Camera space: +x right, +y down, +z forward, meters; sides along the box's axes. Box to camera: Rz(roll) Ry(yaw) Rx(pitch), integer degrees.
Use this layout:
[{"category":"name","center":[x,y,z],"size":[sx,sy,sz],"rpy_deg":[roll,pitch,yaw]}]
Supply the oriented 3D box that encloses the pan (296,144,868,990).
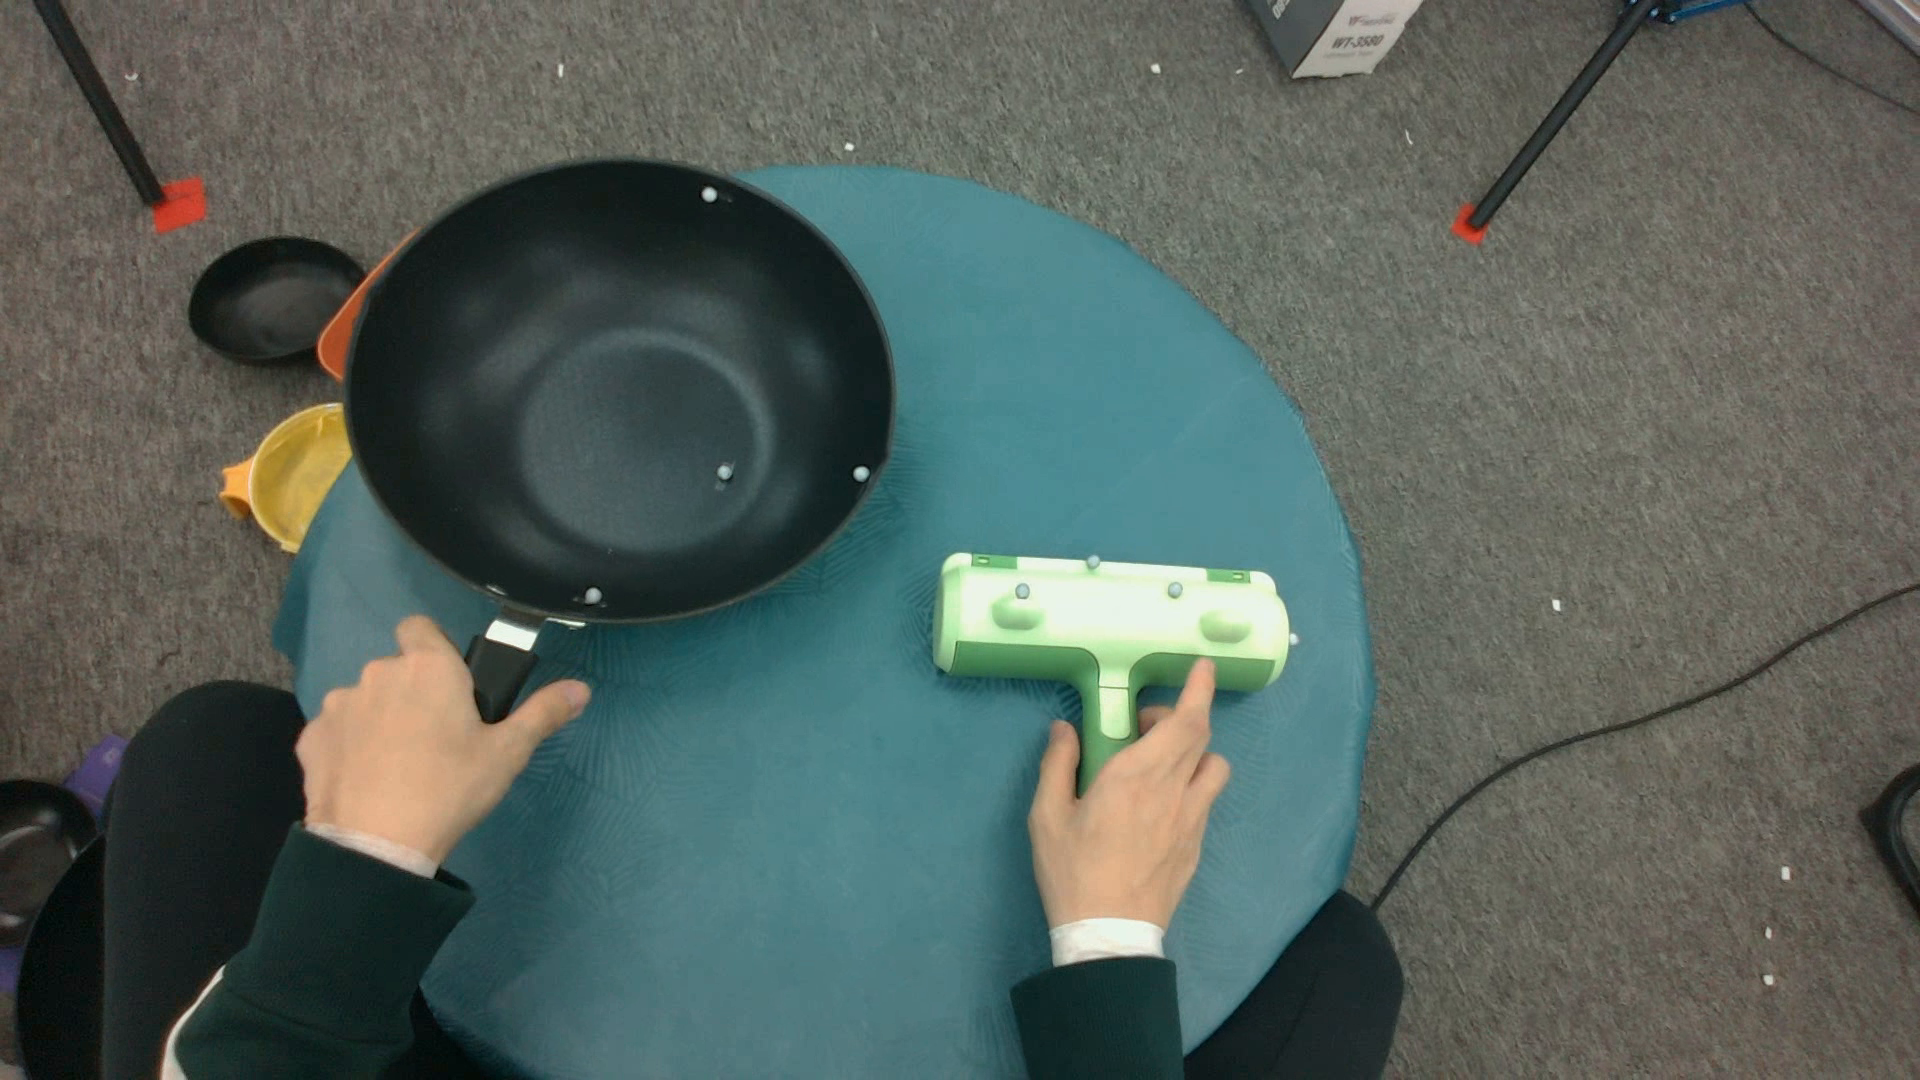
[{"category":"pan","center":[-0.217,0.002,0.721],"size":[0.288,0.086,0.465],"rpy_deg":[16,67,-2]}]

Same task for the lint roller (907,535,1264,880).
[{"category":"lint roller","center":[0.073,0.083,0.739],"size":[0.199,0.082,0.184],"rpy_deg":[3,61,-9]}]
